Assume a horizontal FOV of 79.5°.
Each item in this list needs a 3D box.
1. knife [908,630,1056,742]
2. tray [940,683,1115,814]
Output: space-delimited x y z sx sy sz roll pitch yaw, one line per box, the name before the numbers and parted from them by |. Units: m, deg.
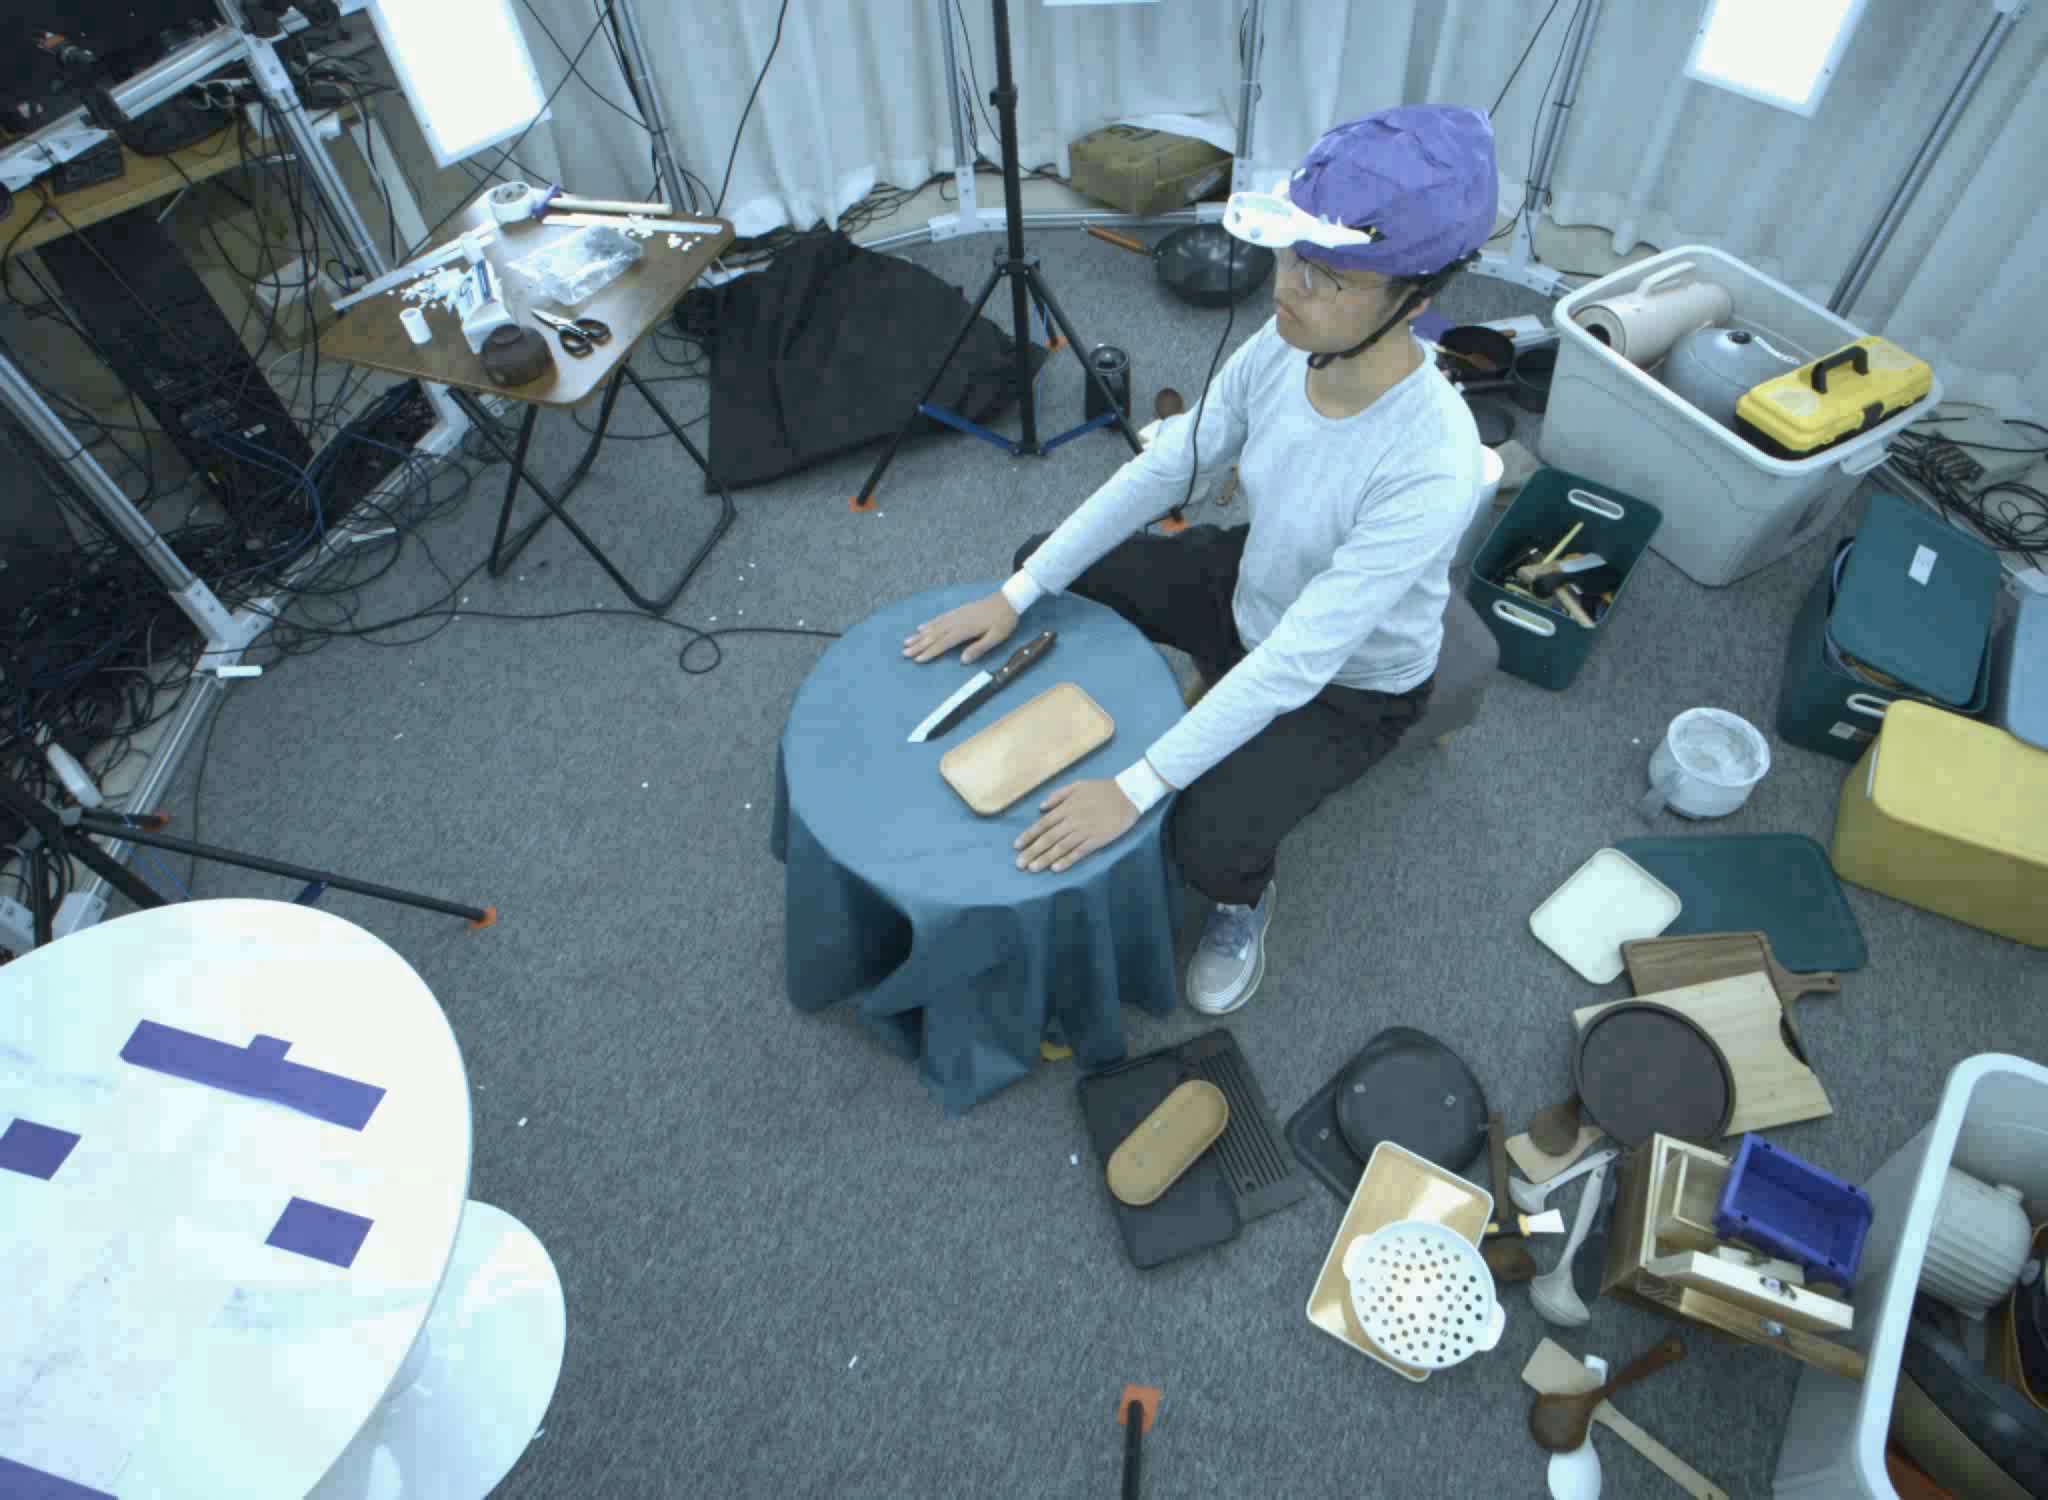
knife | -0.062 -0.096 1.857 0.291 0.020 0.049 -38 56 -20
tray | 0.006 -0.004 1.788 0.253 0.023 0.128 -31 62 -20
